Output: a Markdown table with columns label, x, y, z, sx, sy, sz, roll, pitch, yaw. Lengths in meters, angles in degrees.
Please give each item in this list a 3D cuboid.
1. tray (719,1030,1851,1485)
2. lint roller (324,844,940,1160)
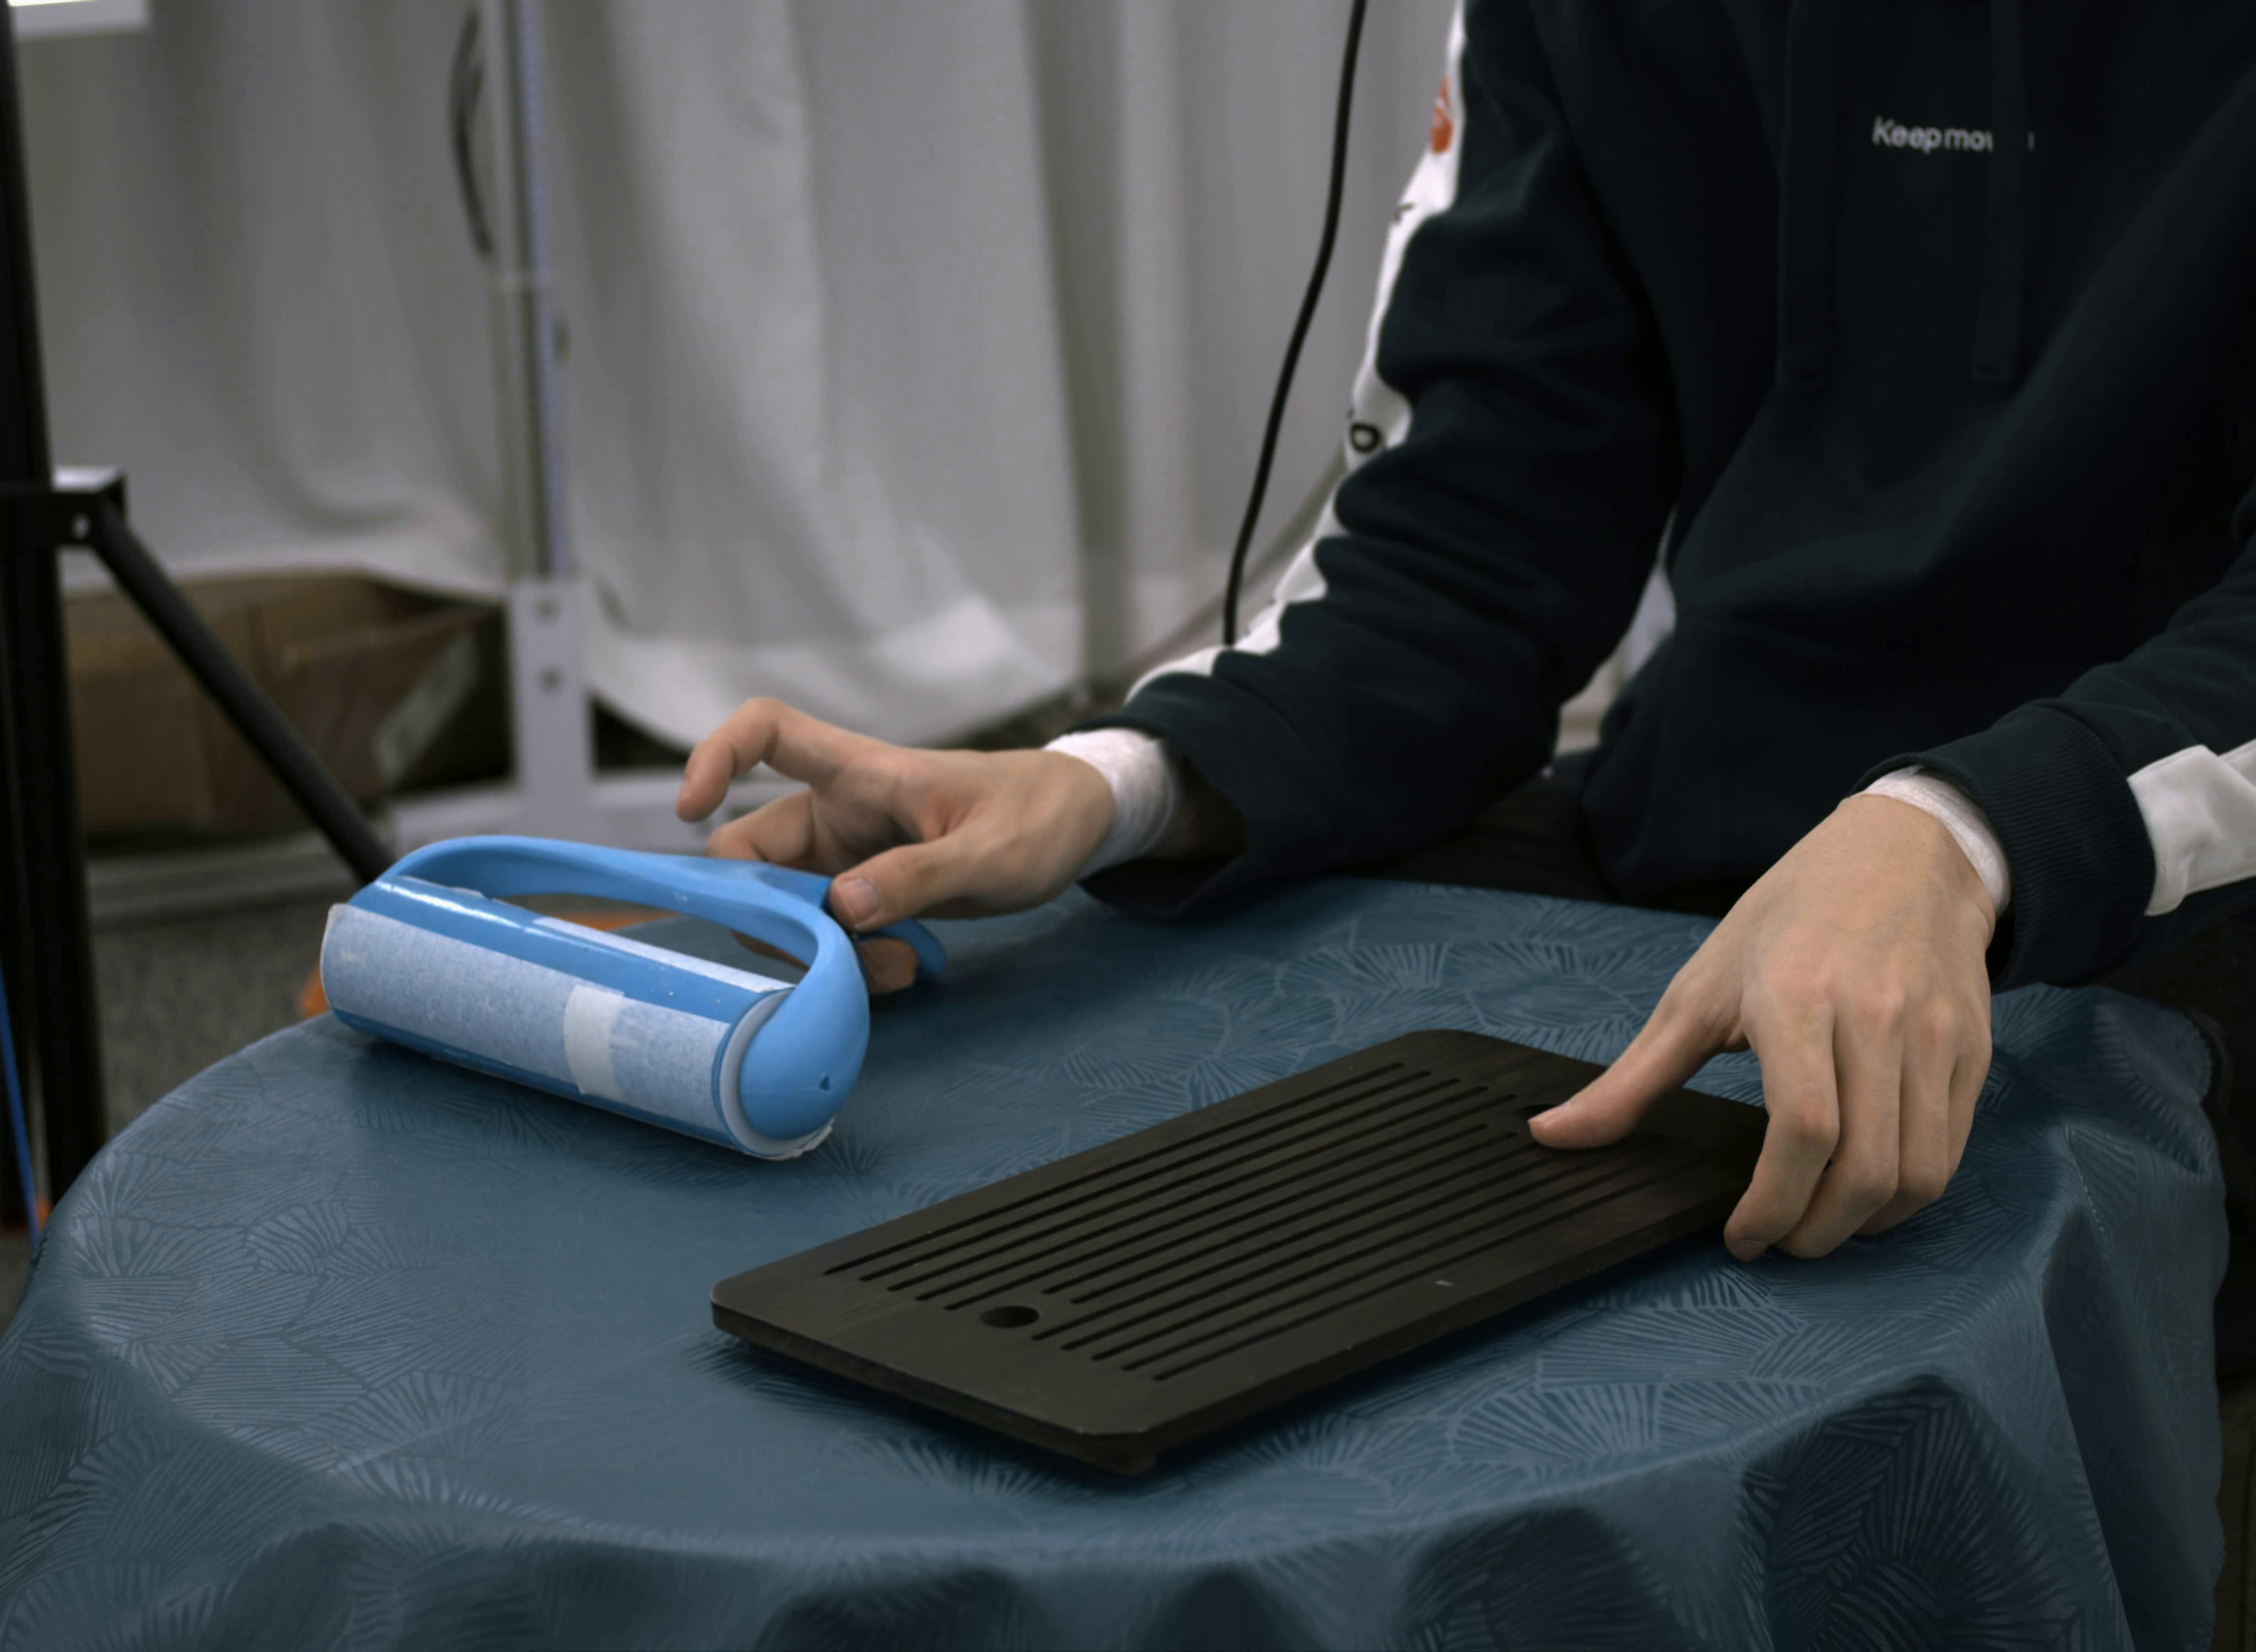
| label | x | y | z | sx | sy | sz | roll | pitch | yaw |
| --- | --- | --- | --- | --- | --- | --- | --- | --- | --- |
| tray | 0.049 | 0.117 | 1.485 | 0.299 | 0.018 | 0.174 | -17 | 21 | -41 |
| lint roller | -0.132 | 0.043 | 1.703 | 0.234 | 0.068 | 0.176 | 9 | 22 | 42 |
